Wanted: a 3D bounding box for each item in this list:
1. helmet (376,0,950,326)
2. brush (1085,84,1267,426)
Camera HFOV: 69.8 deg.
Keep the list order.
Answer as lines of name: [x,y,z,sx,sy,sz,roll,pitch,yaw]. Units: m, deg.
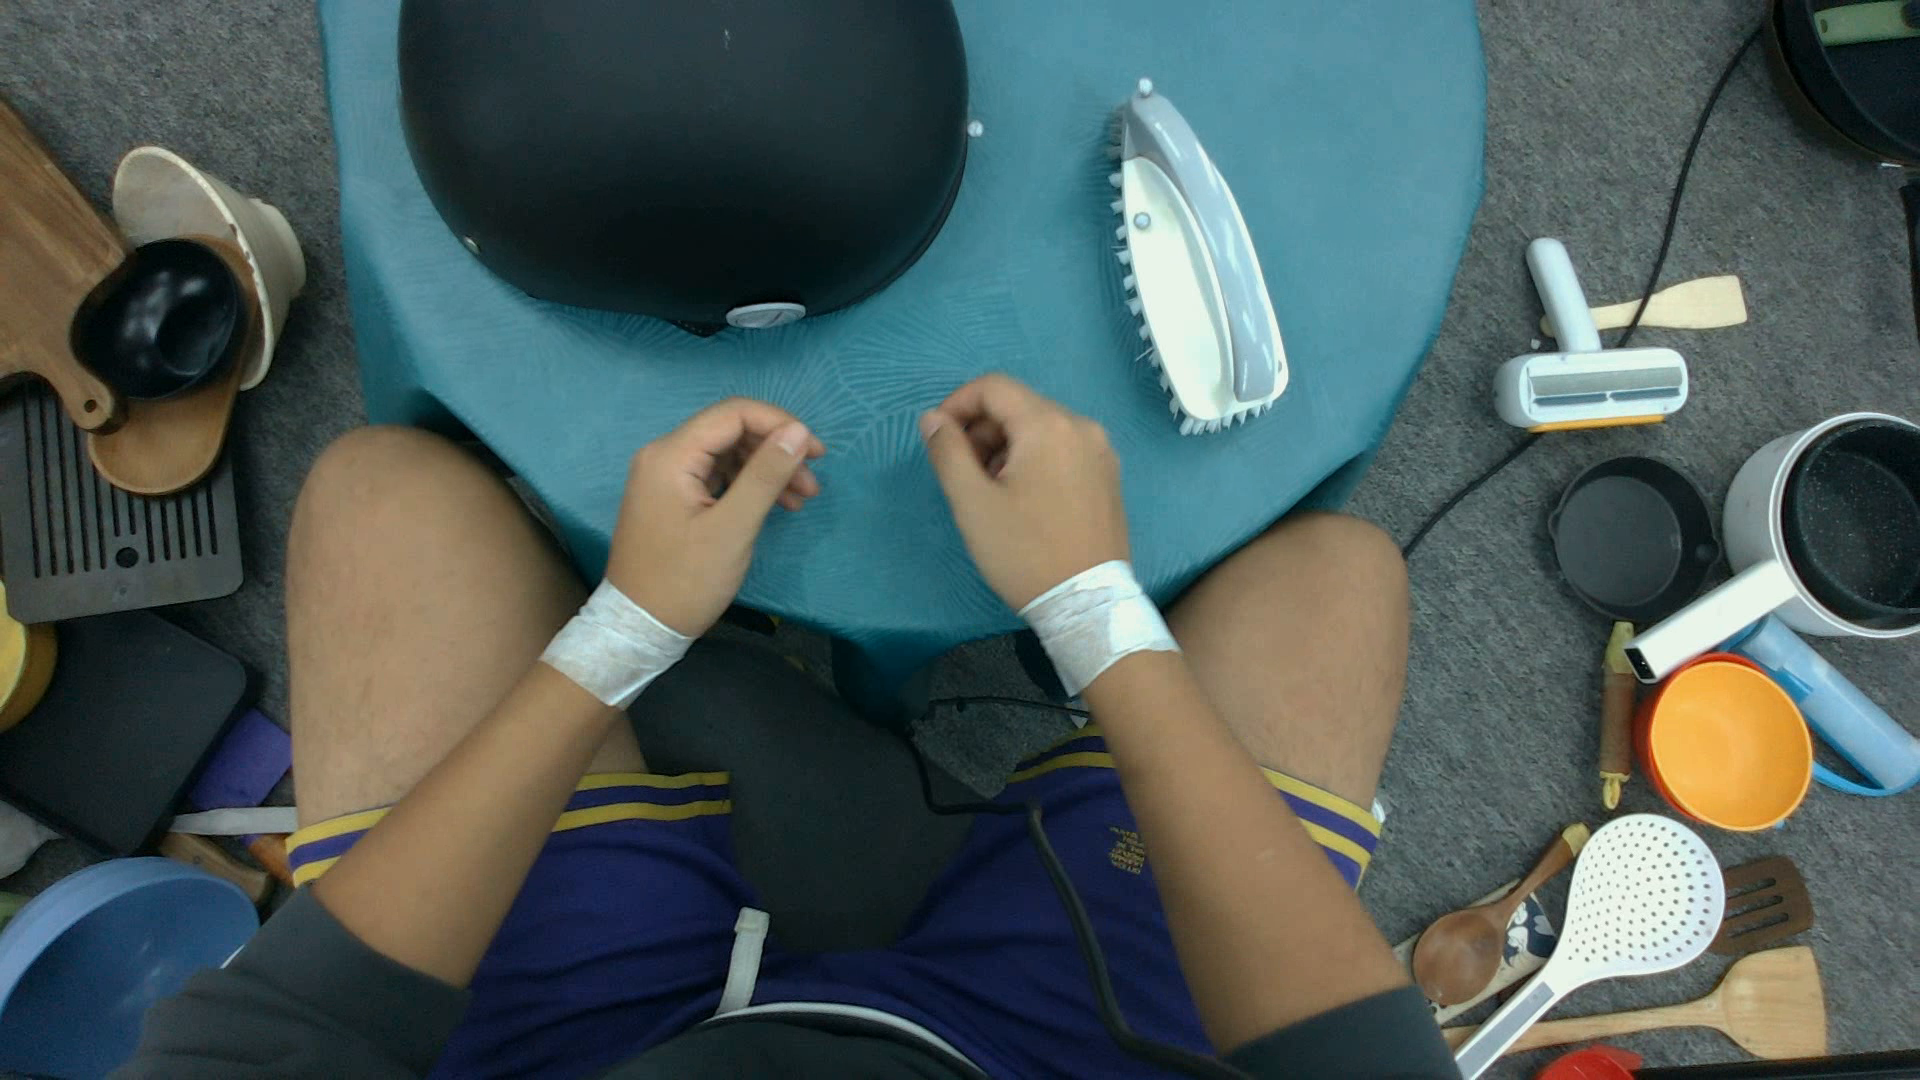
helmet: [-0.130,-0.221,0.618,0.273,0.166,0.230,4,84,-8]
brush: [0.103,-0.149,0.672,0.061,0.094,0.175,-17,84,-9]
